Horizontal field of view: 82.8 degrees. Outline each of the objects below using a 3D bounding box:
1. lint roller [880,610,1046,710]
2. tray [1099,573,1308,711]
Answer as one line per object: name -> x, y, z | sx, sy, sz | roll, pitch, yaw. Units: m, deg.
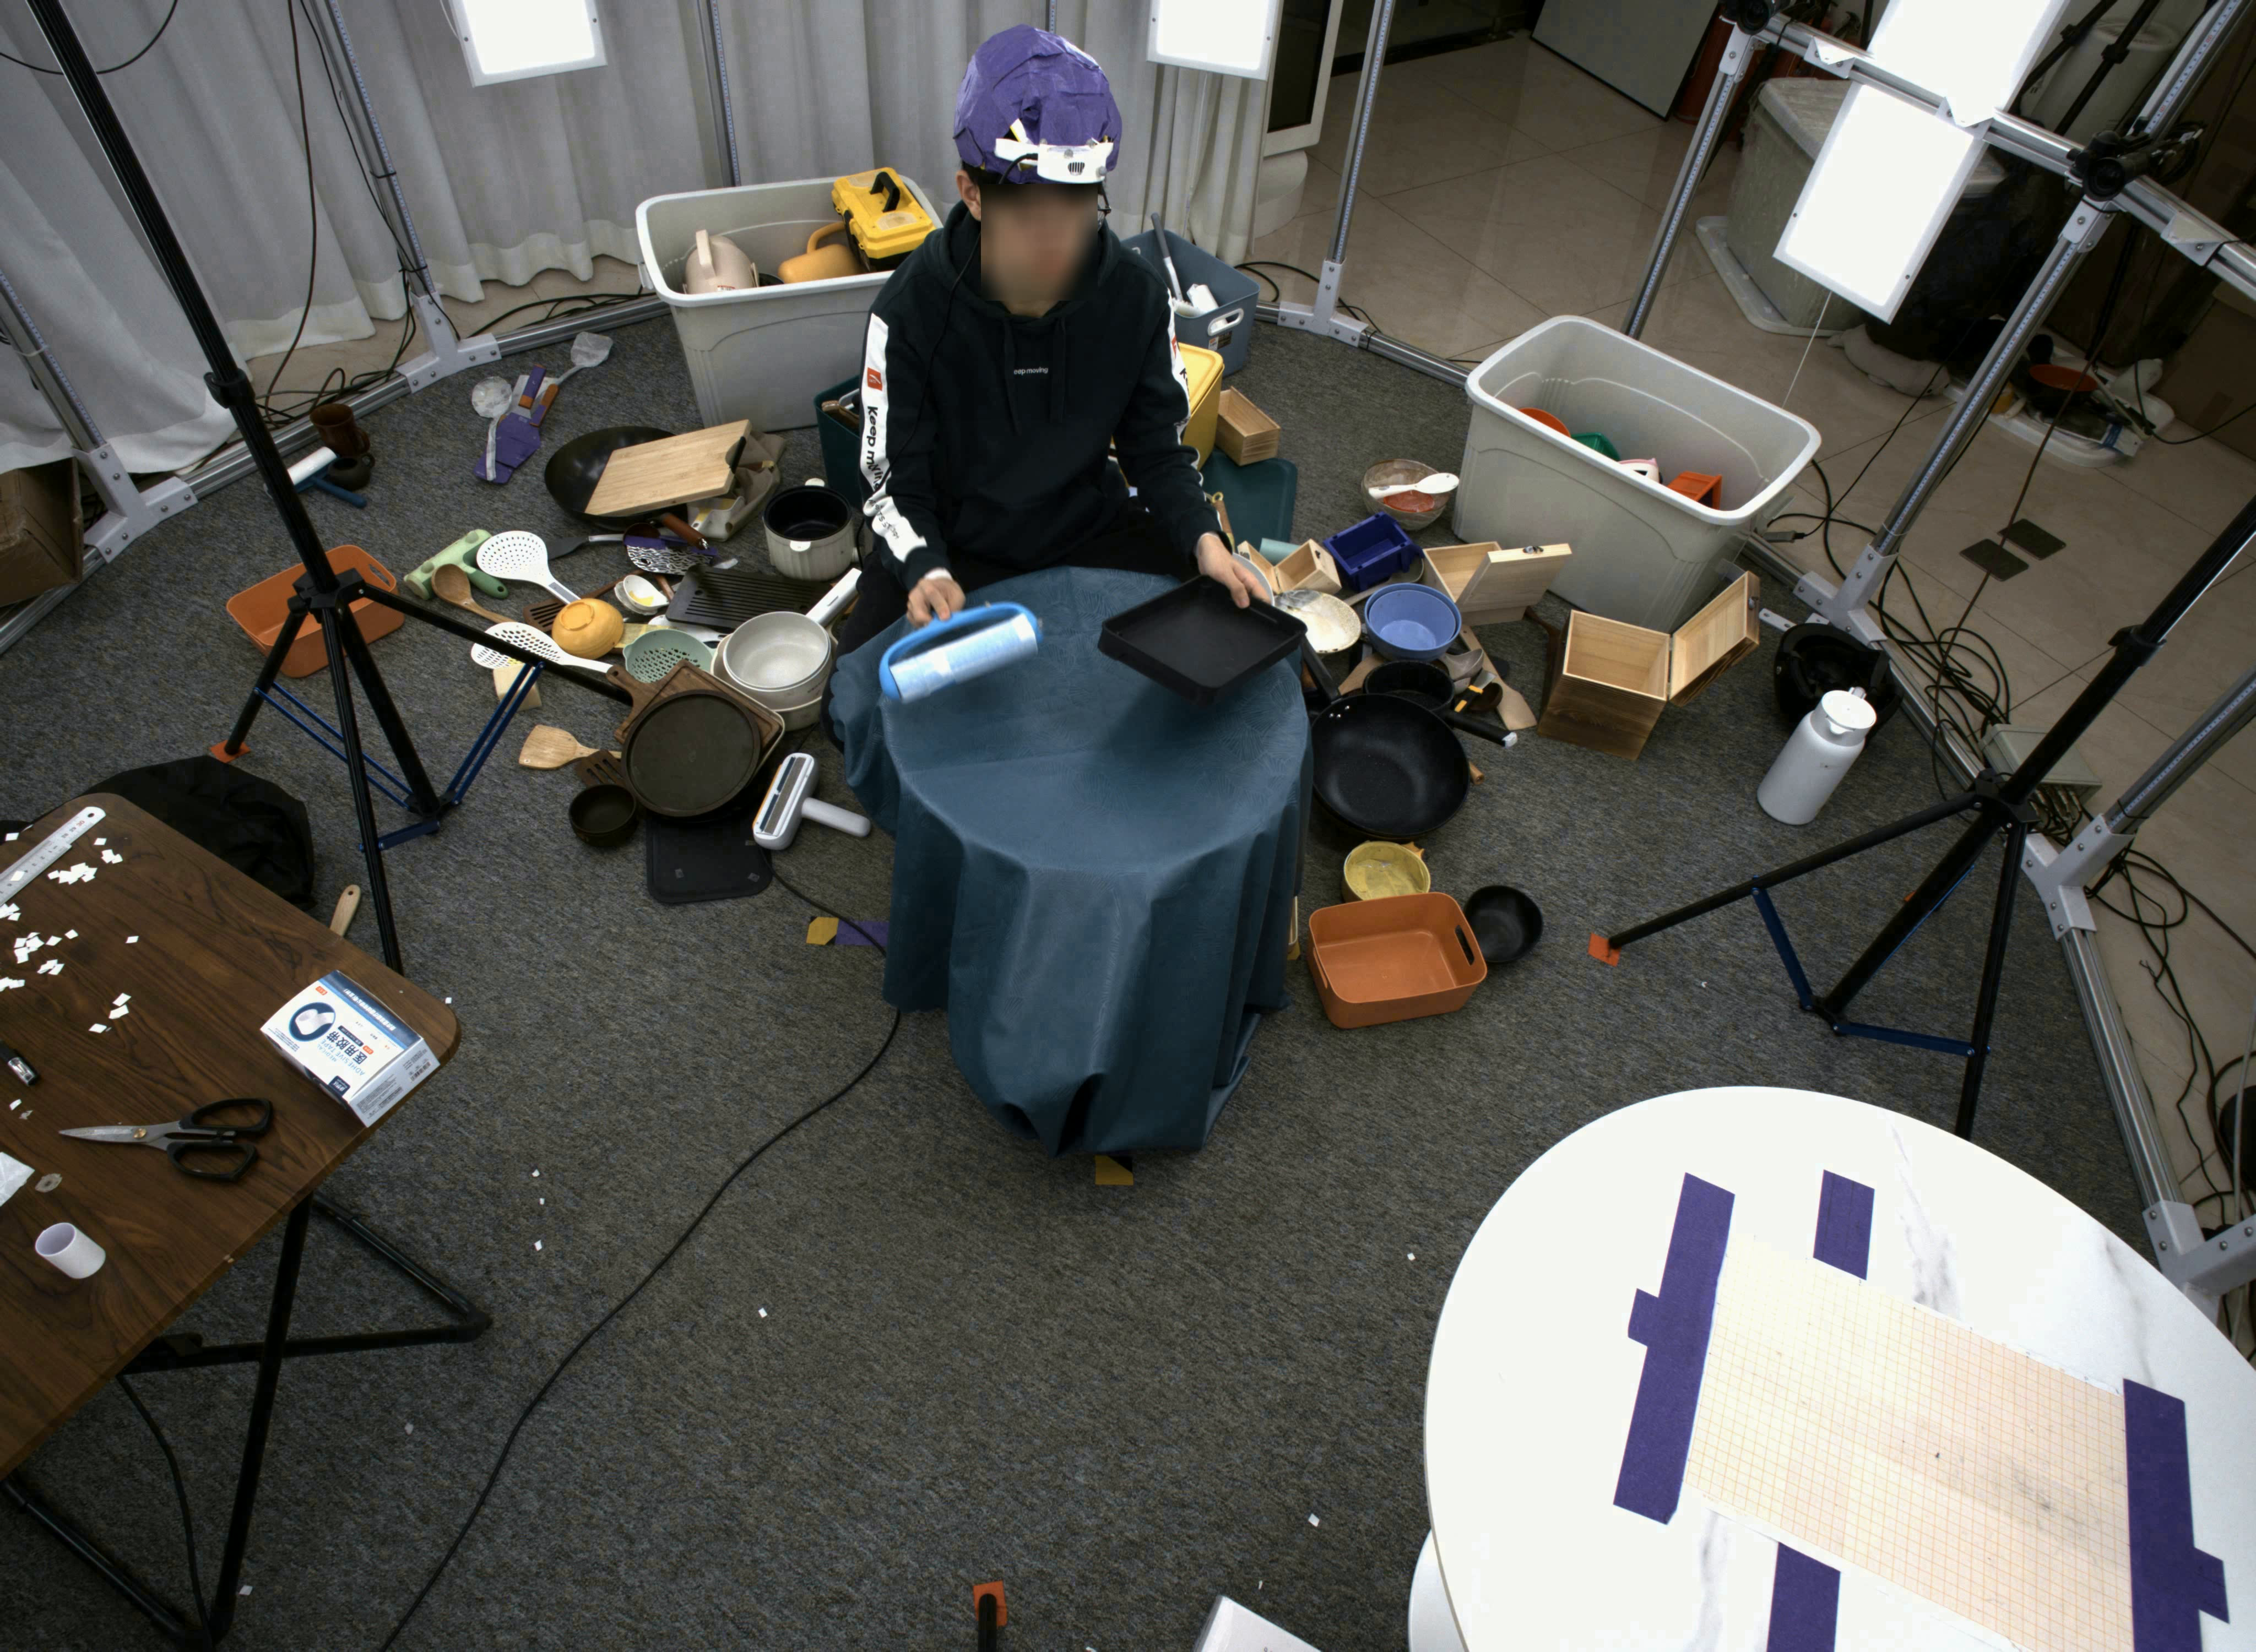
lint roller -> -0.243, -0.250, 1.751 | 0.229, 0.066, 0.184 | -25, 45, -13
tray -> 0.109, -0.261, 1.770 | 0.186, 0.036, 0.321 | 29, 36, 17
